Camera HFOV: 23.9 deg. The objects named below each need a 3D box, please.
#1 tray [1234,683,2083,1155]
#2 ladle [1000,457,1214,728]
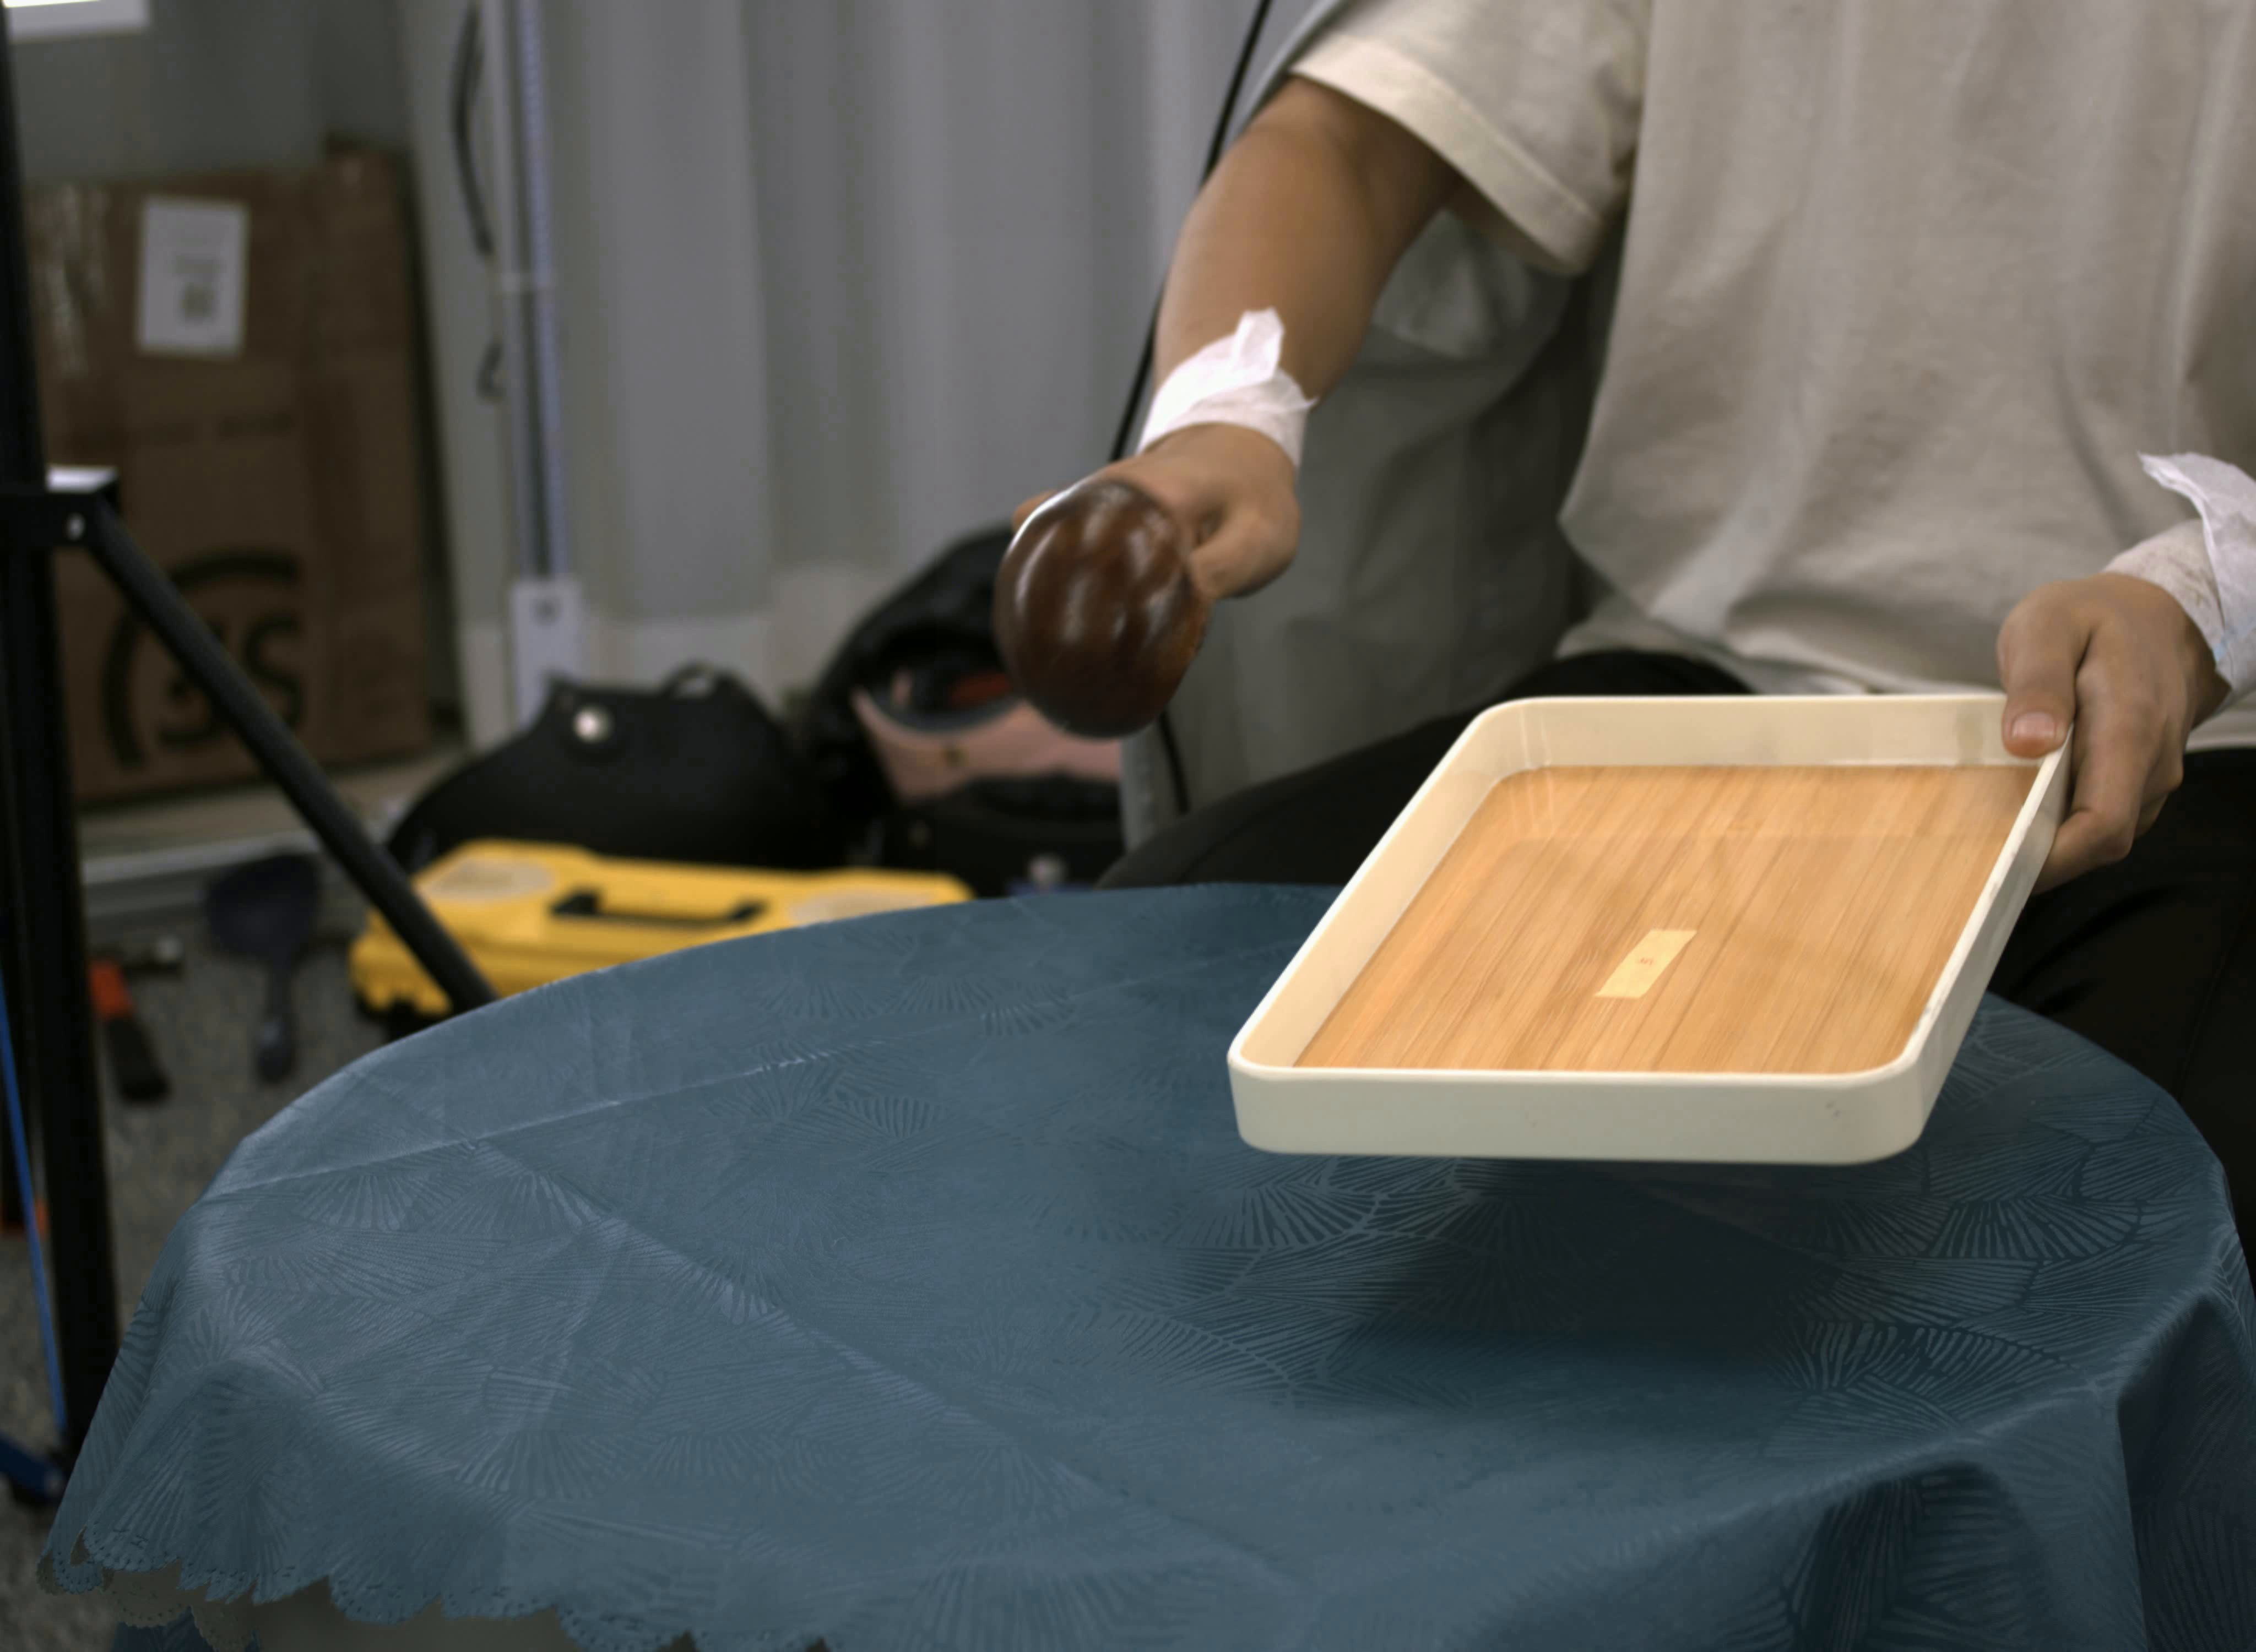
[{"bbox_3d":[0.160,0.023,1.517,0.194,0.027,0.297,-1,21,21],"label":"tray"},{"bbox_3d":[0.014,-0.072,1.717,0.077,0.082,0.271,12,3,12],"label":"ladle"}]
